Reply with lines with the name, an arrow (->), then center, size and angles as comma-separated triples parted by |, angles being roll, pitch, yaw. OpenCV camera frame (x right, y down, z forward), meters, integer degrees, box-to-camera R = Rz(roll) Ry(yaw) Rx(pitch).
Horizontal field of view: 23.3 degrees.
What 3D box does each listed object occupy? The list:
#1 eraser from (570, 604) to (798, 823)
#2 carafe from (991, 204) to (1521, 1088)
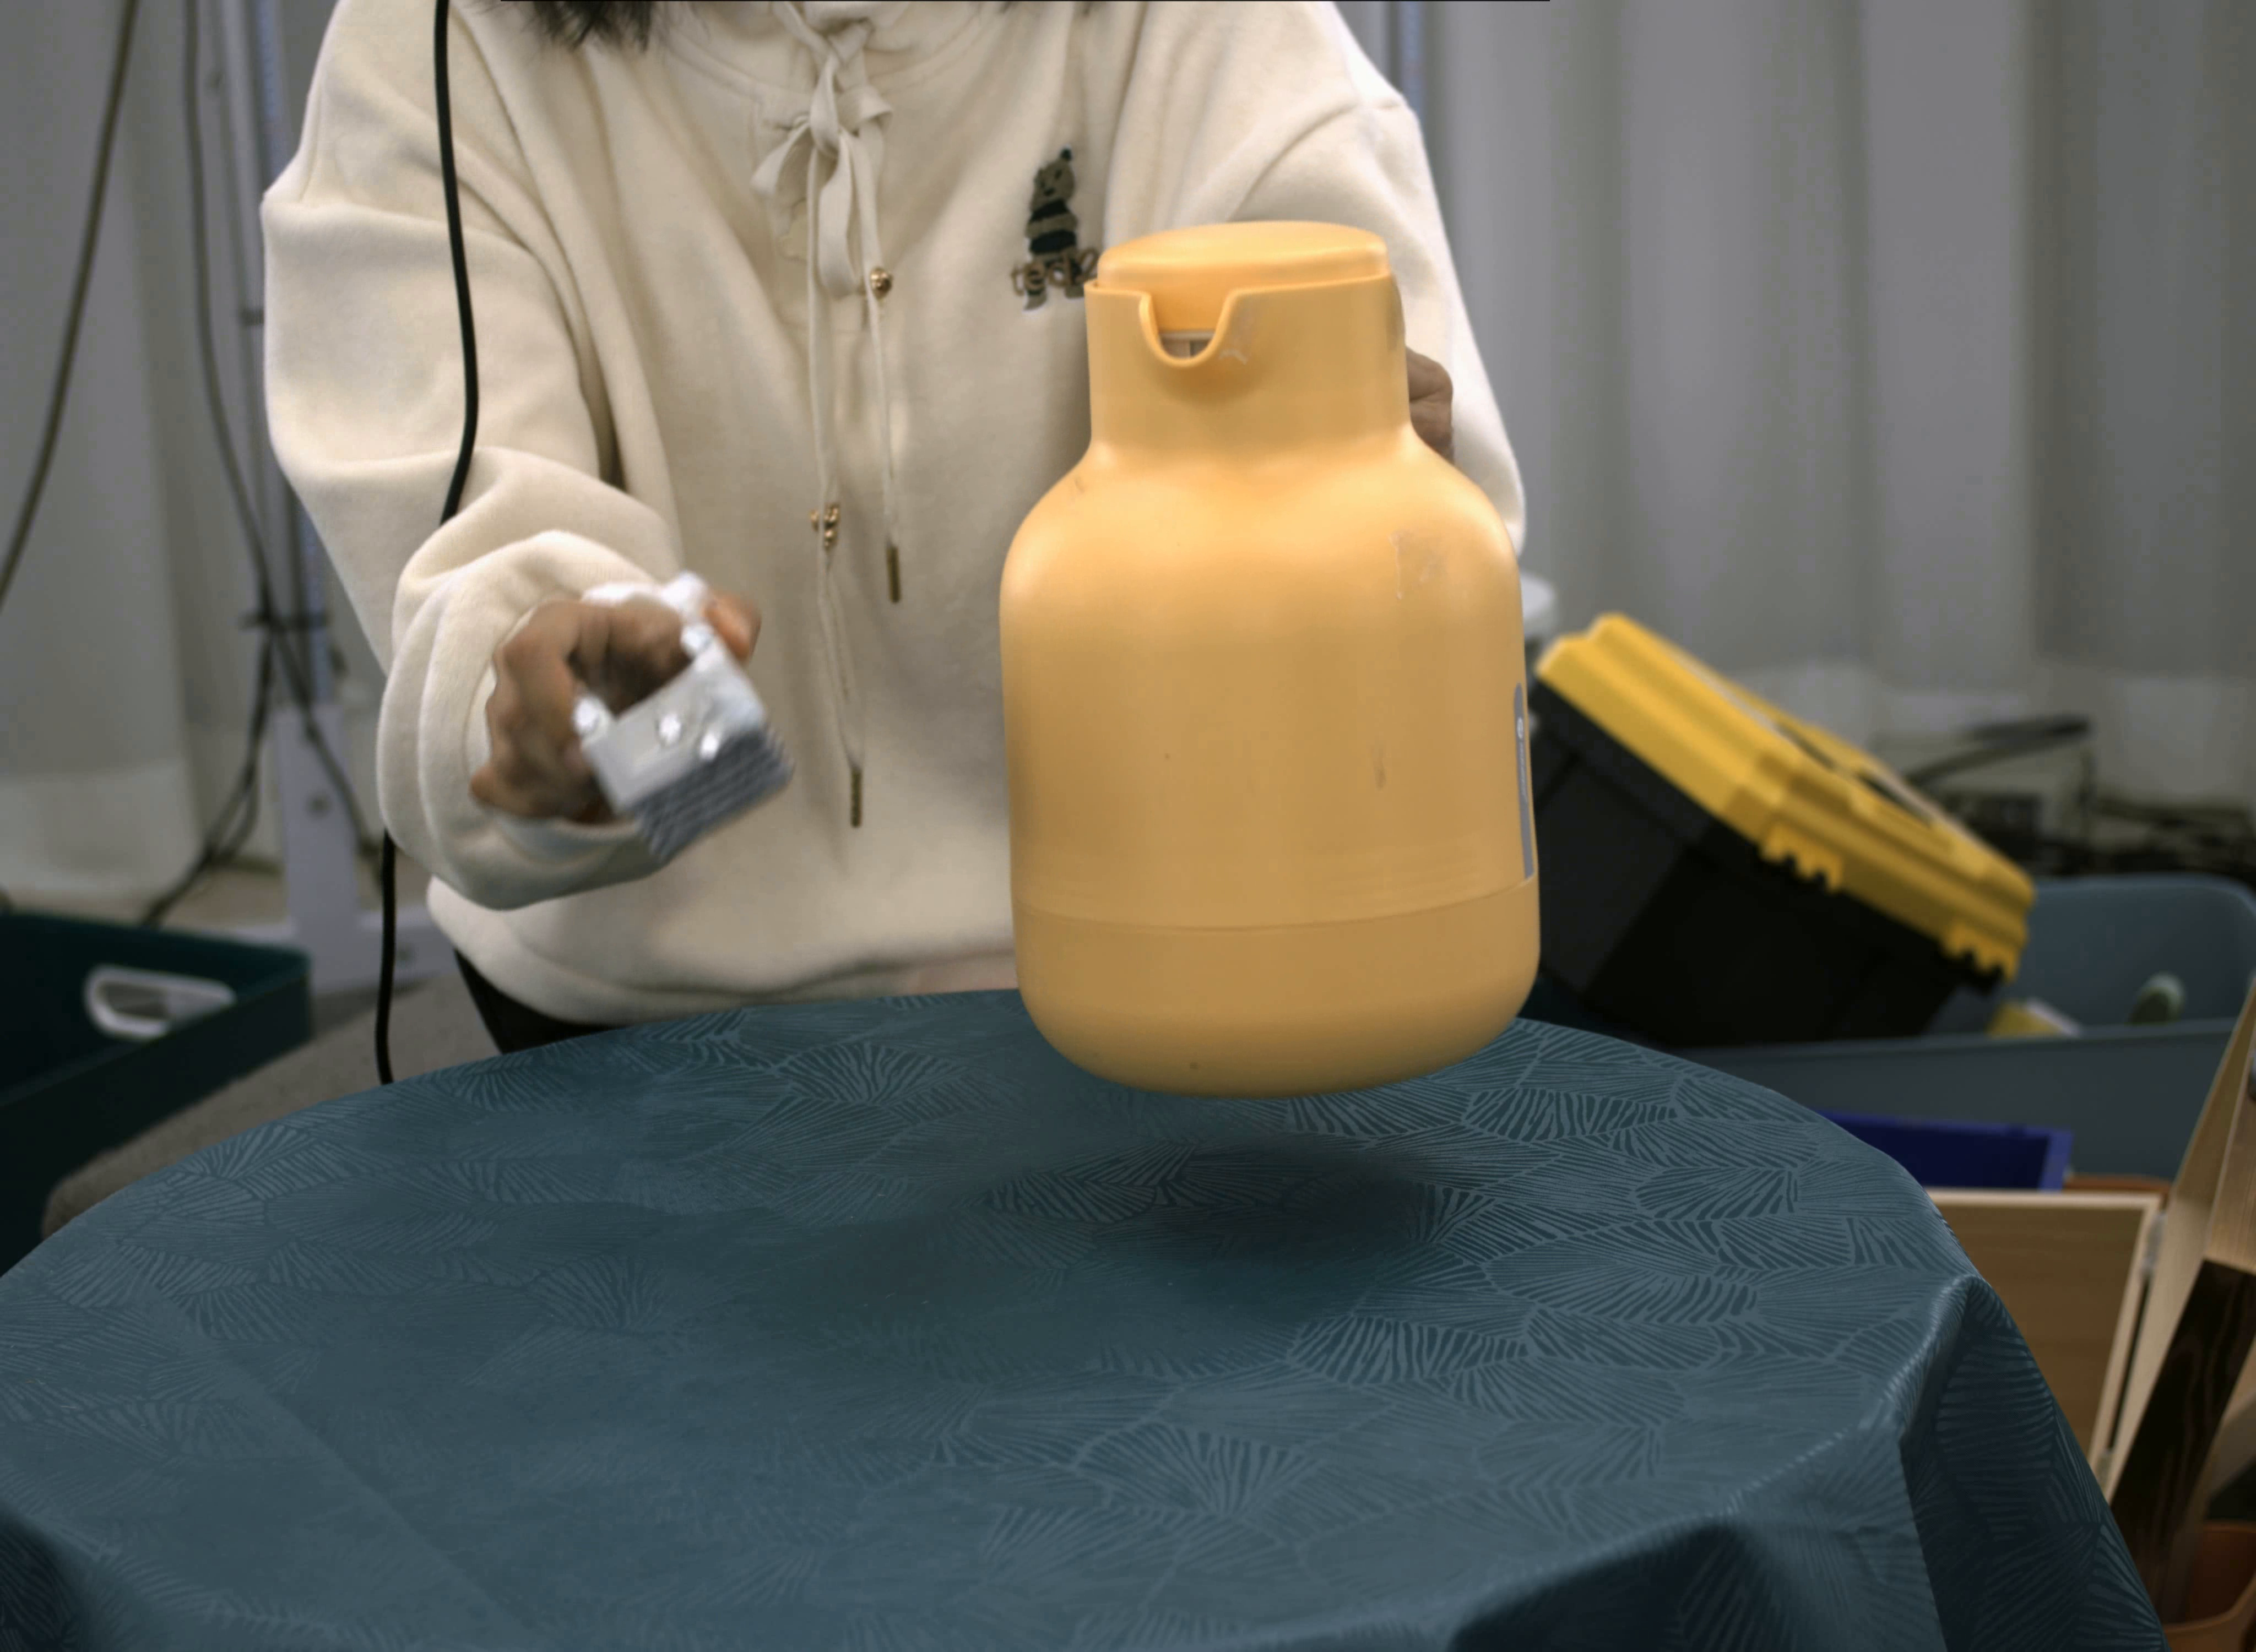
eraser -> -0.133, -0.035, 1.640 | 0.050, 0.046, 0.135 | -35, 9, -5
carafe -> 0.045, -0.062, 1.694 | 0.163, 0.260, 0.203 | 3, 12, 17
